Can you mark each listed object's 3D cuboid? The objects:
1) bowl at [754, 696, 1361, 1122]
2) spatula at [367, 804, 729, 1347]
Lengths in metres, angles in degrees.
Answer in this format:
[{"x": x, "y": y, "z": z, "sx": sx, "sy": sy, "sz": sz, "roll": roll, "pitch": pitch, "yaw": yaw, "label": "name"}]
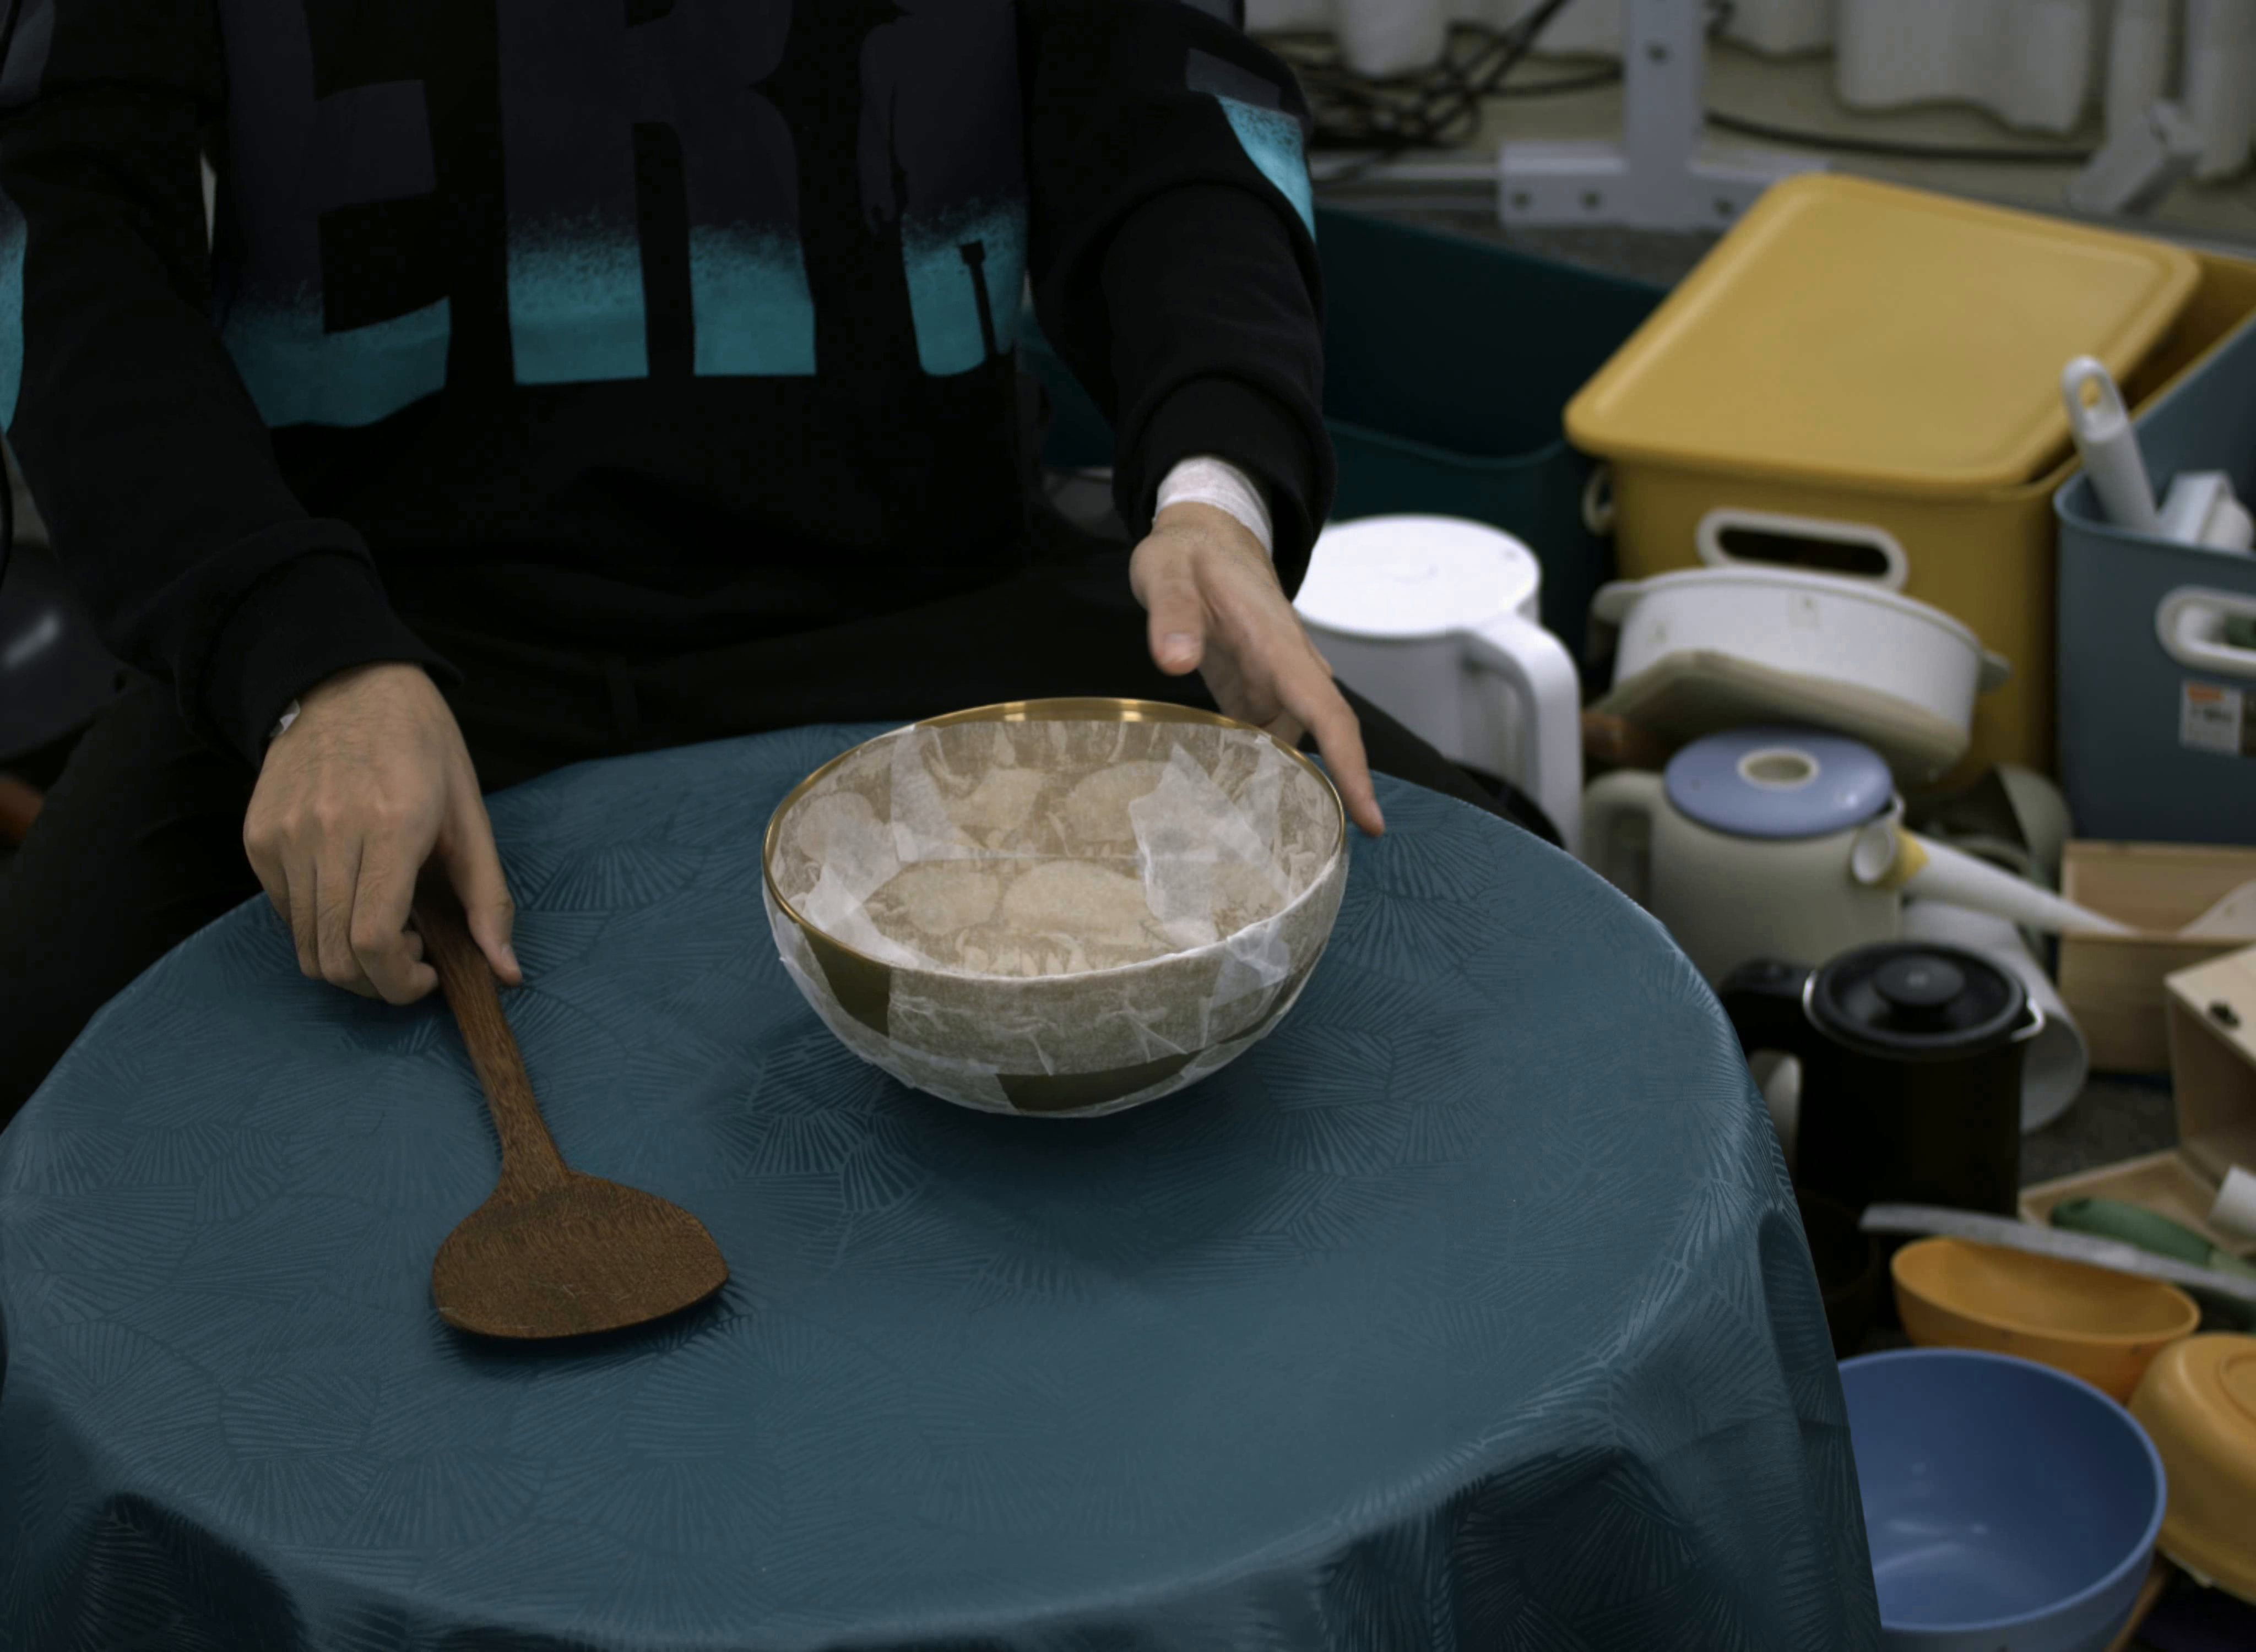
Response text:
[{"x": -0.021, "y": 0.040, "z": 1.923, "sx": 0.213, "sy": 0.093, "sz": 0.218, "roll": -4, "pitch": 26, "yaw": 2, "label": "bowl"}, {"x": -0.221, "y": 0.078, "z": 1.948, "sx": 0.096, "sy": 0.015, "sz": 0.390, "roll": -9, "pitch": 29, "yaw": -13, "label": "spatula"}]
